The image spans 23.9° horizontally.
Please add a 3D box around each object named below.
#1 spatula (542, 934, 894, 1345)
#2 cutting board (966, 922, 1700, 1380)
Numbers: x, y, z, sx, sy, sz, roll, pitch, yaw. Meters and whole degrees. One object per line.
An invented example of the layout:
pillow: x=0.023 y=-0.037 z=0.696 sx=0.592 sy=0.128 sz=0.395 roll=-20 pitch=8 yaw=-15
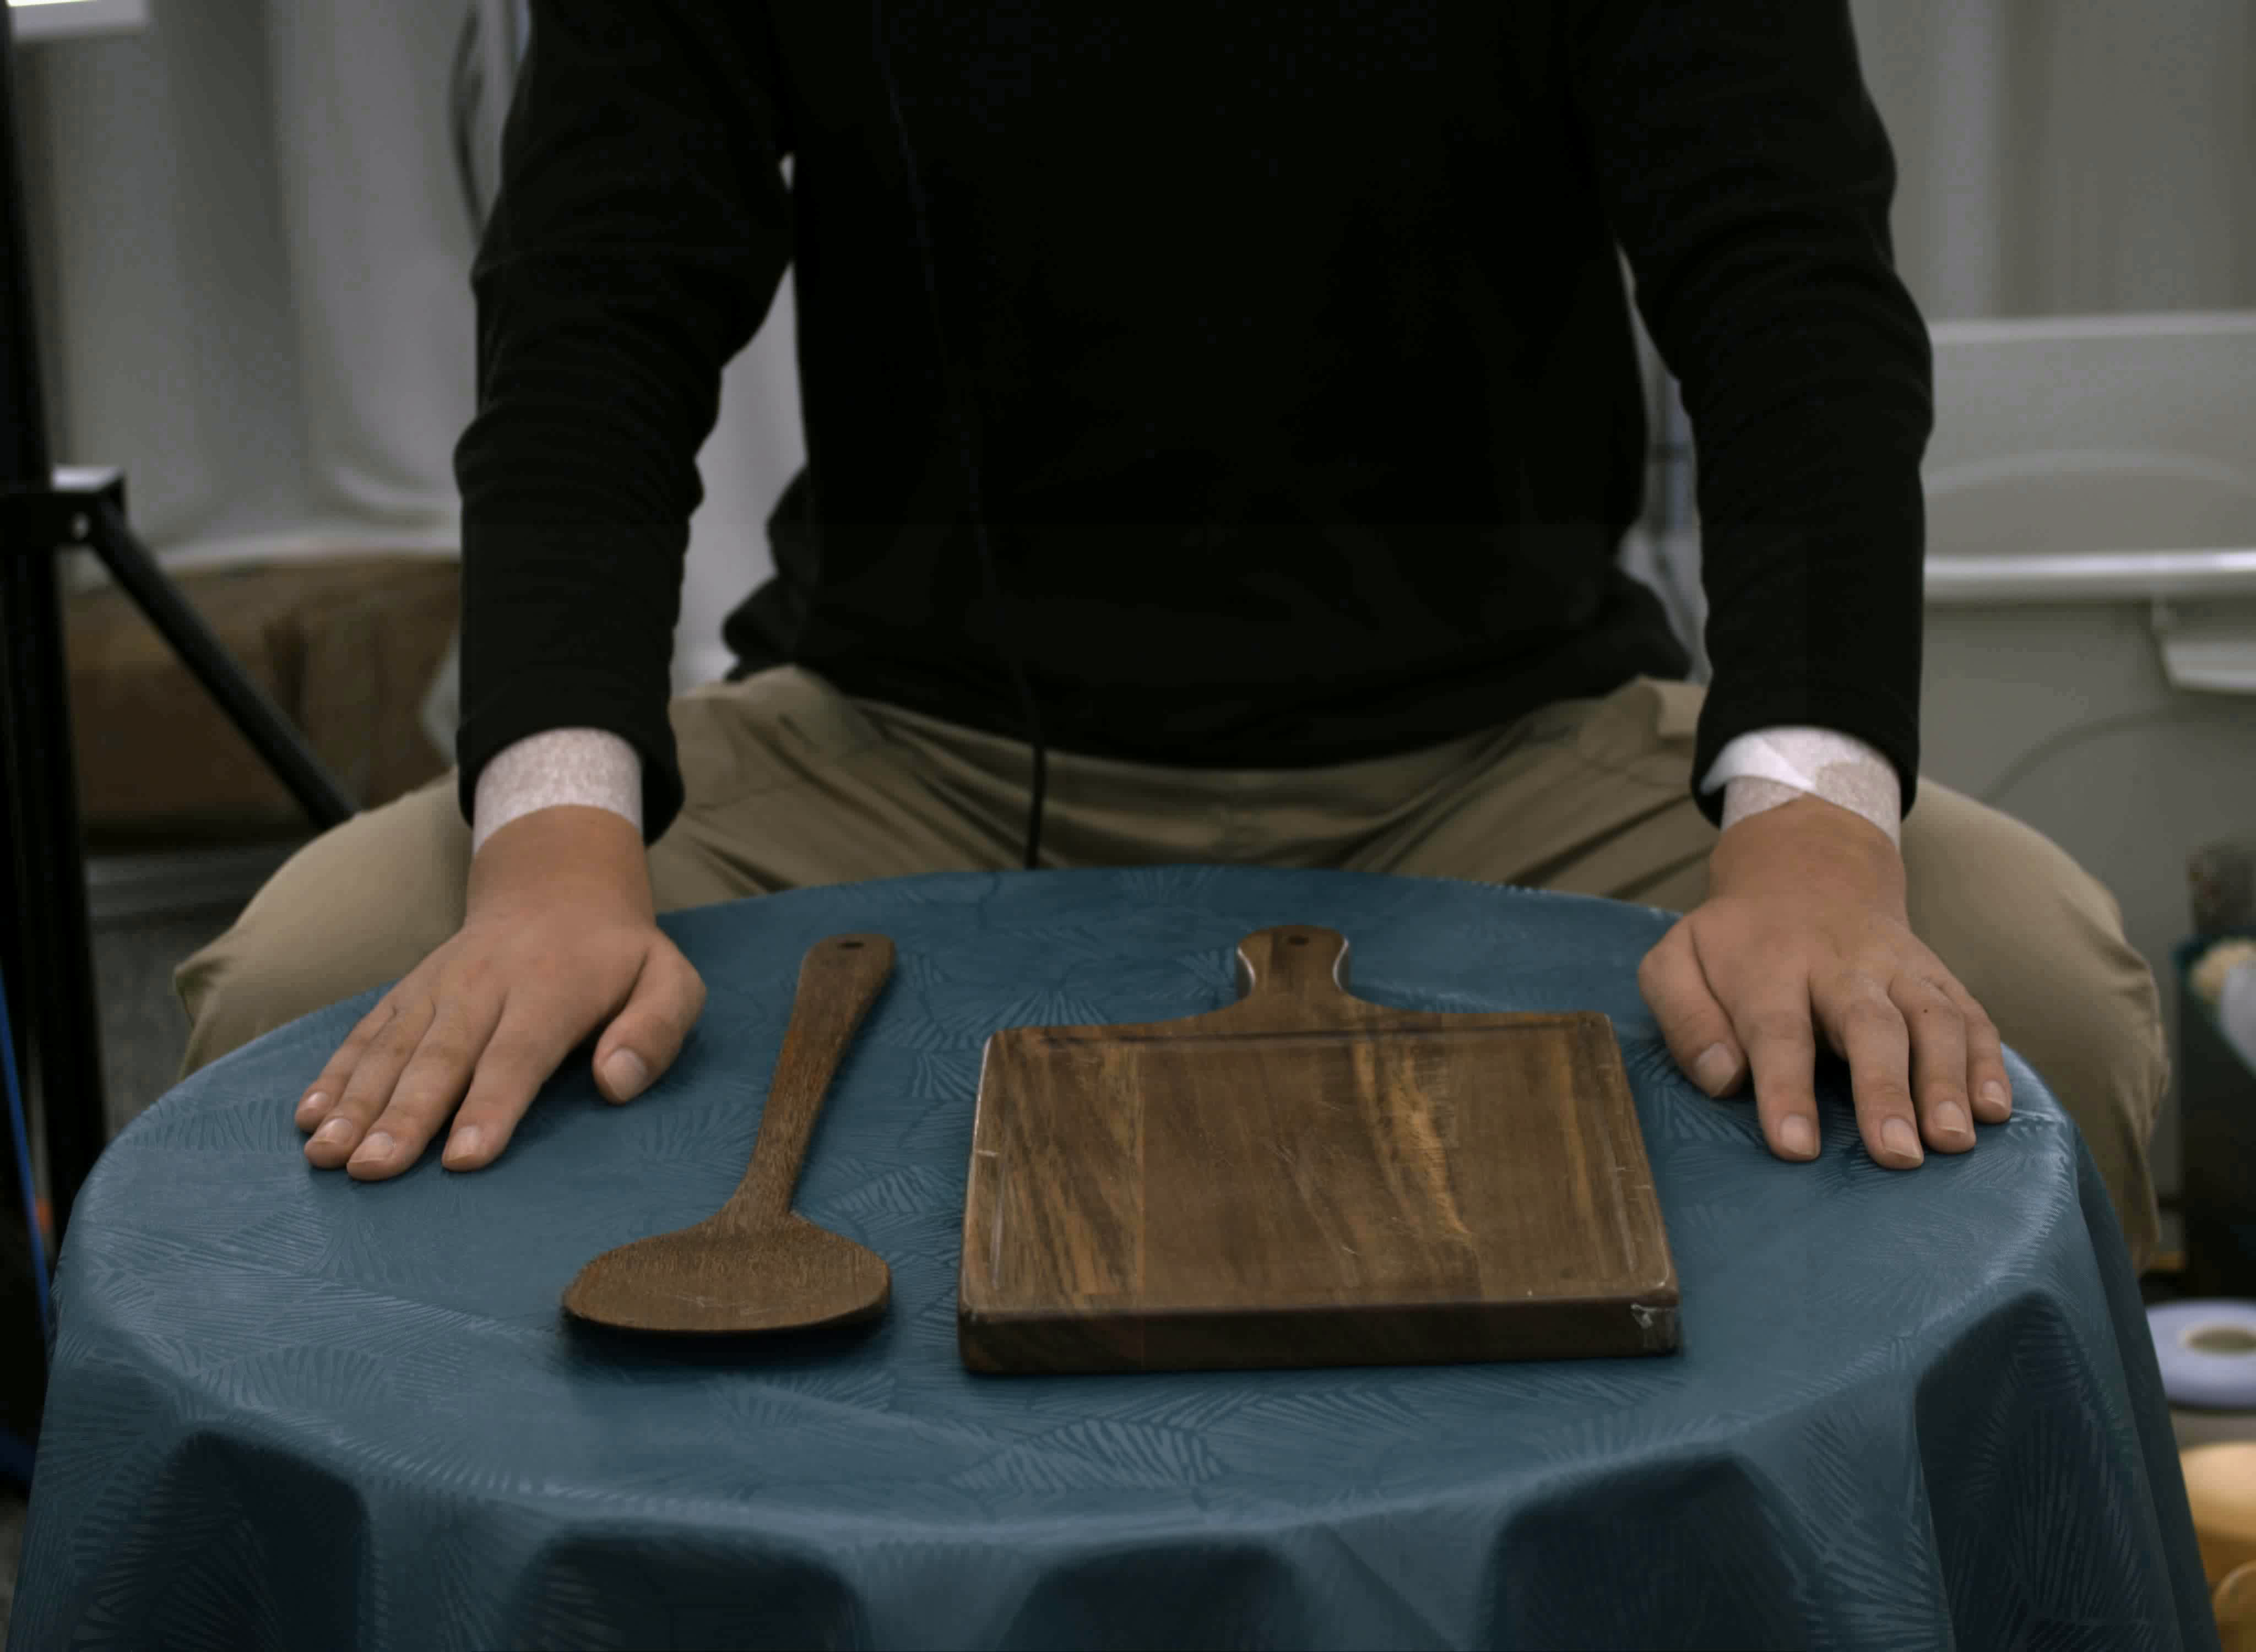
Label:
spatula: x=-0.103 y=0.089 z=1.617 sx=0.096 sy=0.016 sz=0.386 roll=-1 pitch=16 yaw=4
cutting board: x=0.053 y=0.089 z=1.578 sx=0.200 sy=0.023 sz=0.353 roll=-2 pitch=16 yaw=1
